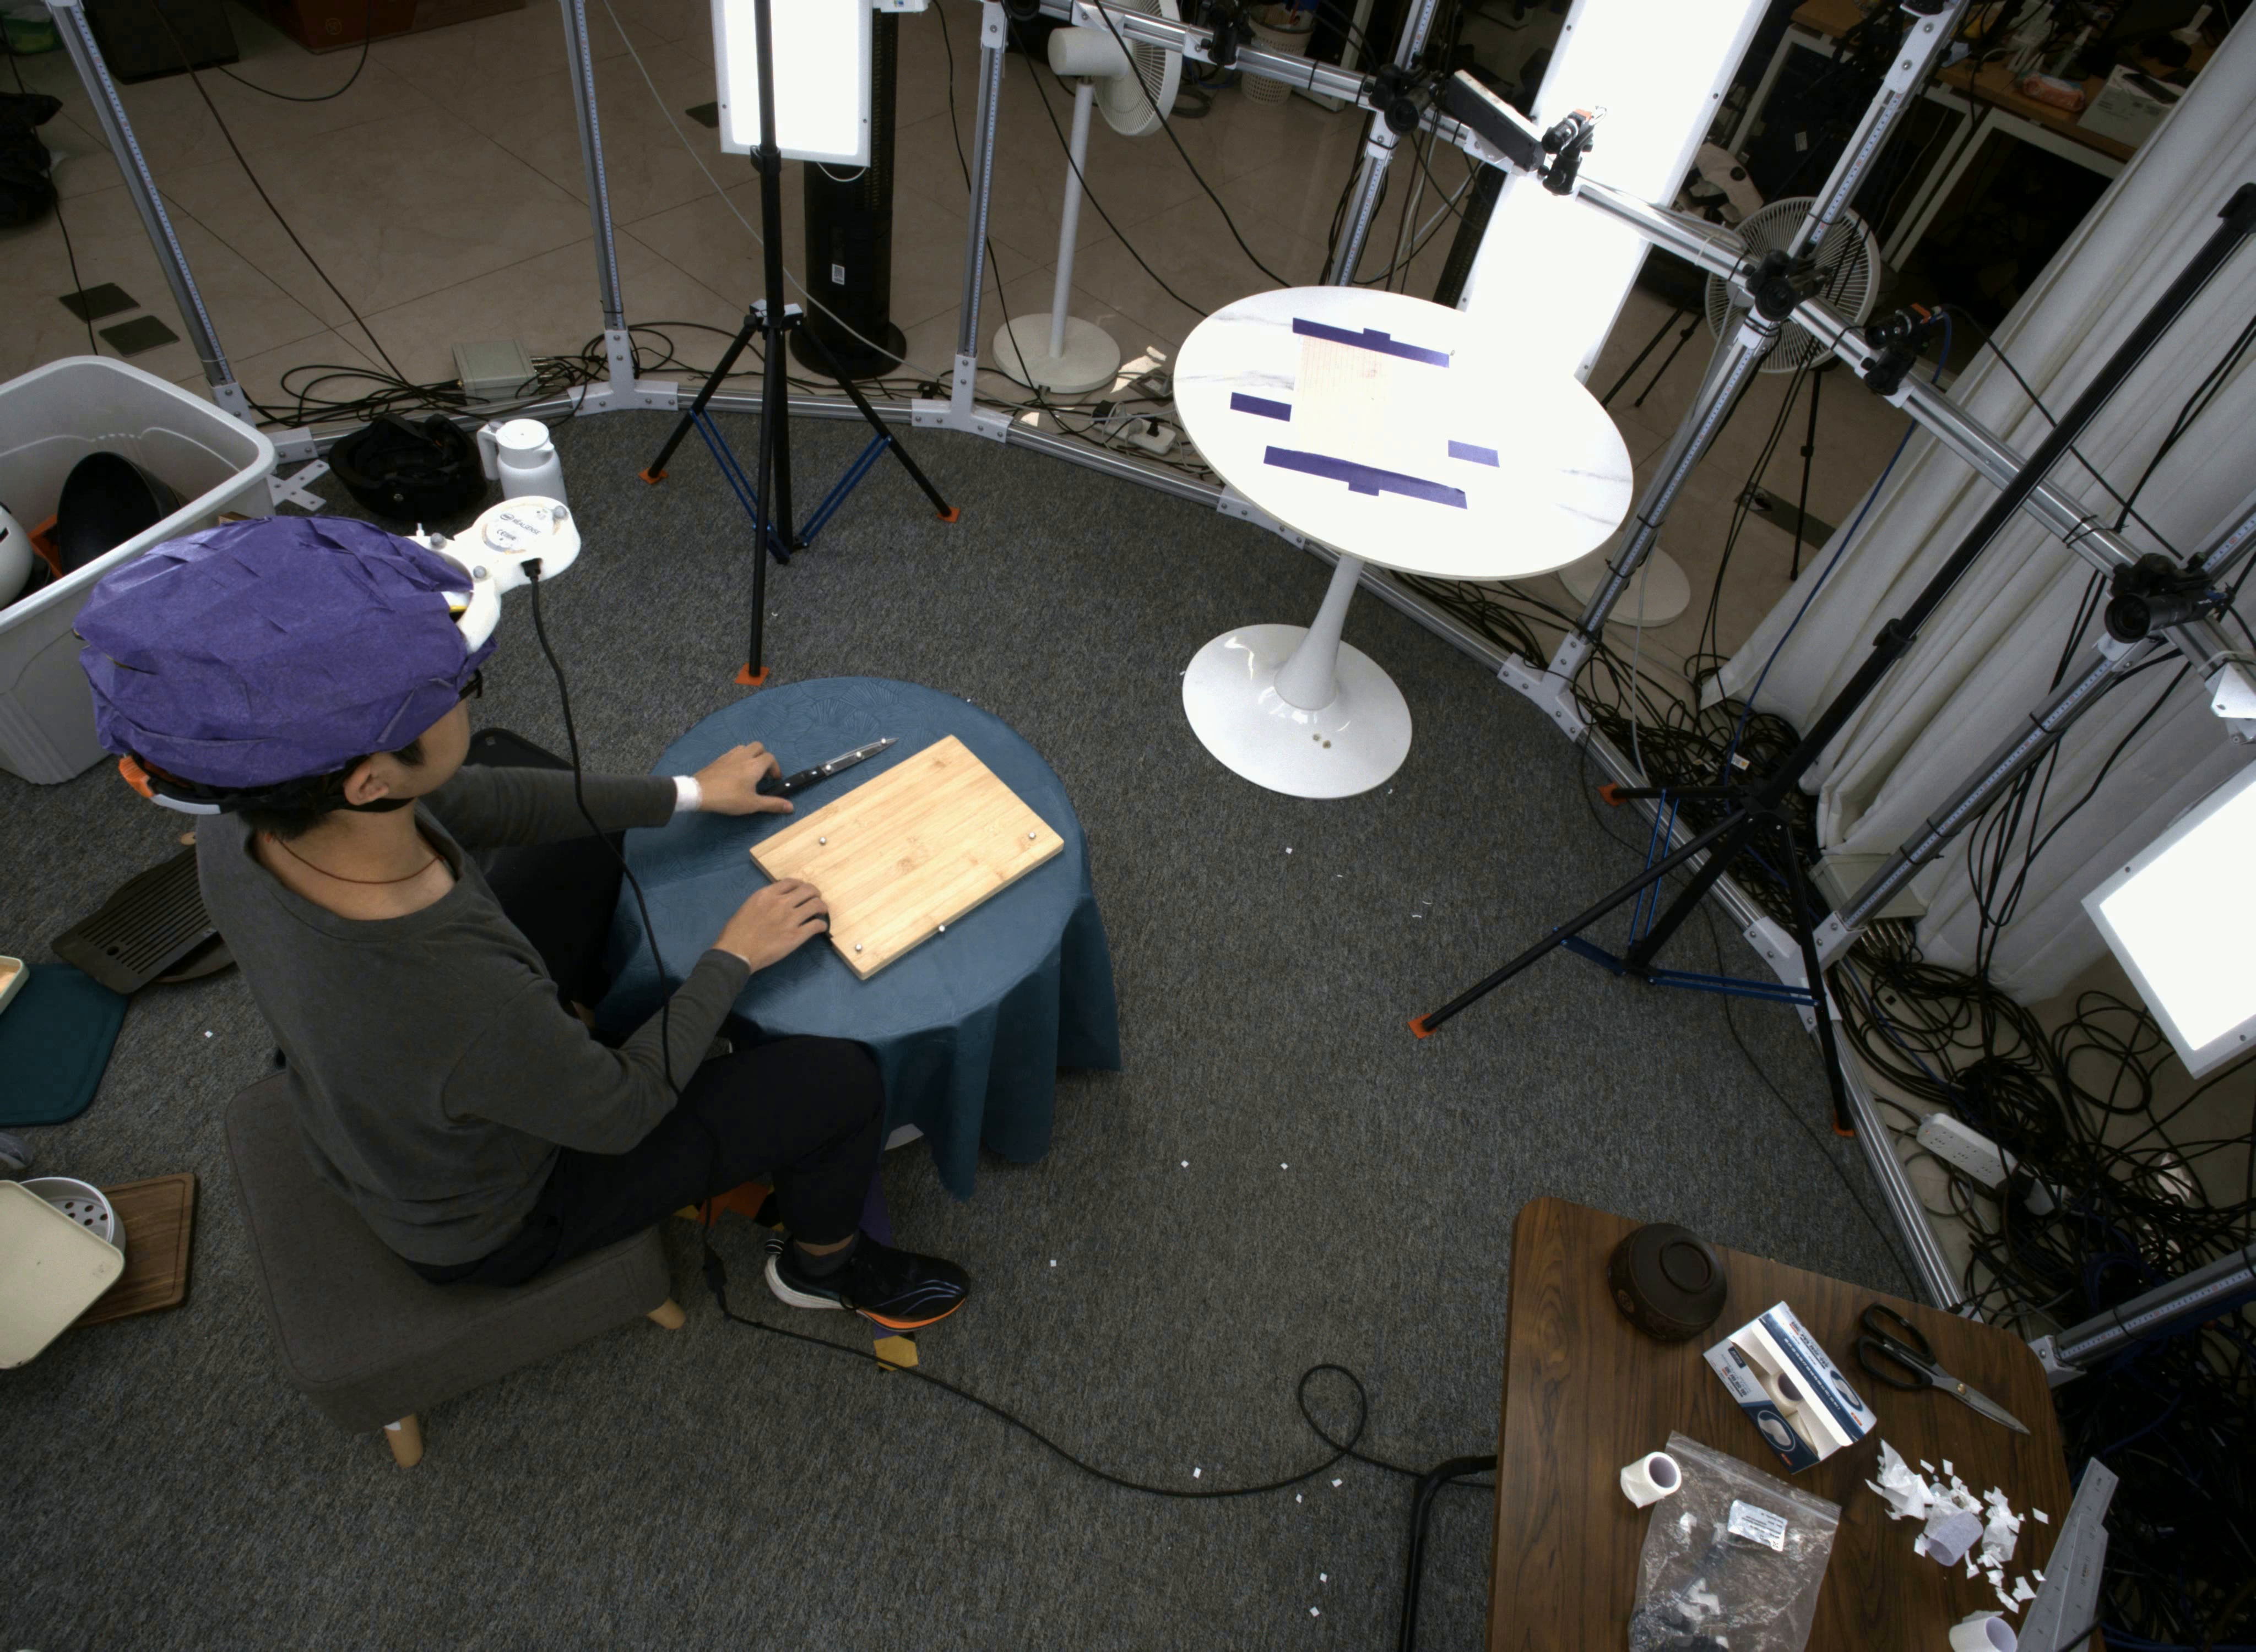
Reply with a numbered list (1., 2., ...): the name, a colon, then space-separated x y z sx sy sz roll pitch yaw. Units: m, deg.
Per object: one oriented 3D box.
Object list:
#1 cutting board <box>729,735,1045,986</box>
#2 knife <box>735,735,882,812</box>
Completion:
1. cutting board: -0.313 0.034 1.728 0.245 0.024 0.349 42 55 18
2. knife: -0.434 -0.076 1.782 0.239 0.016 0.024 -32 67 -34
